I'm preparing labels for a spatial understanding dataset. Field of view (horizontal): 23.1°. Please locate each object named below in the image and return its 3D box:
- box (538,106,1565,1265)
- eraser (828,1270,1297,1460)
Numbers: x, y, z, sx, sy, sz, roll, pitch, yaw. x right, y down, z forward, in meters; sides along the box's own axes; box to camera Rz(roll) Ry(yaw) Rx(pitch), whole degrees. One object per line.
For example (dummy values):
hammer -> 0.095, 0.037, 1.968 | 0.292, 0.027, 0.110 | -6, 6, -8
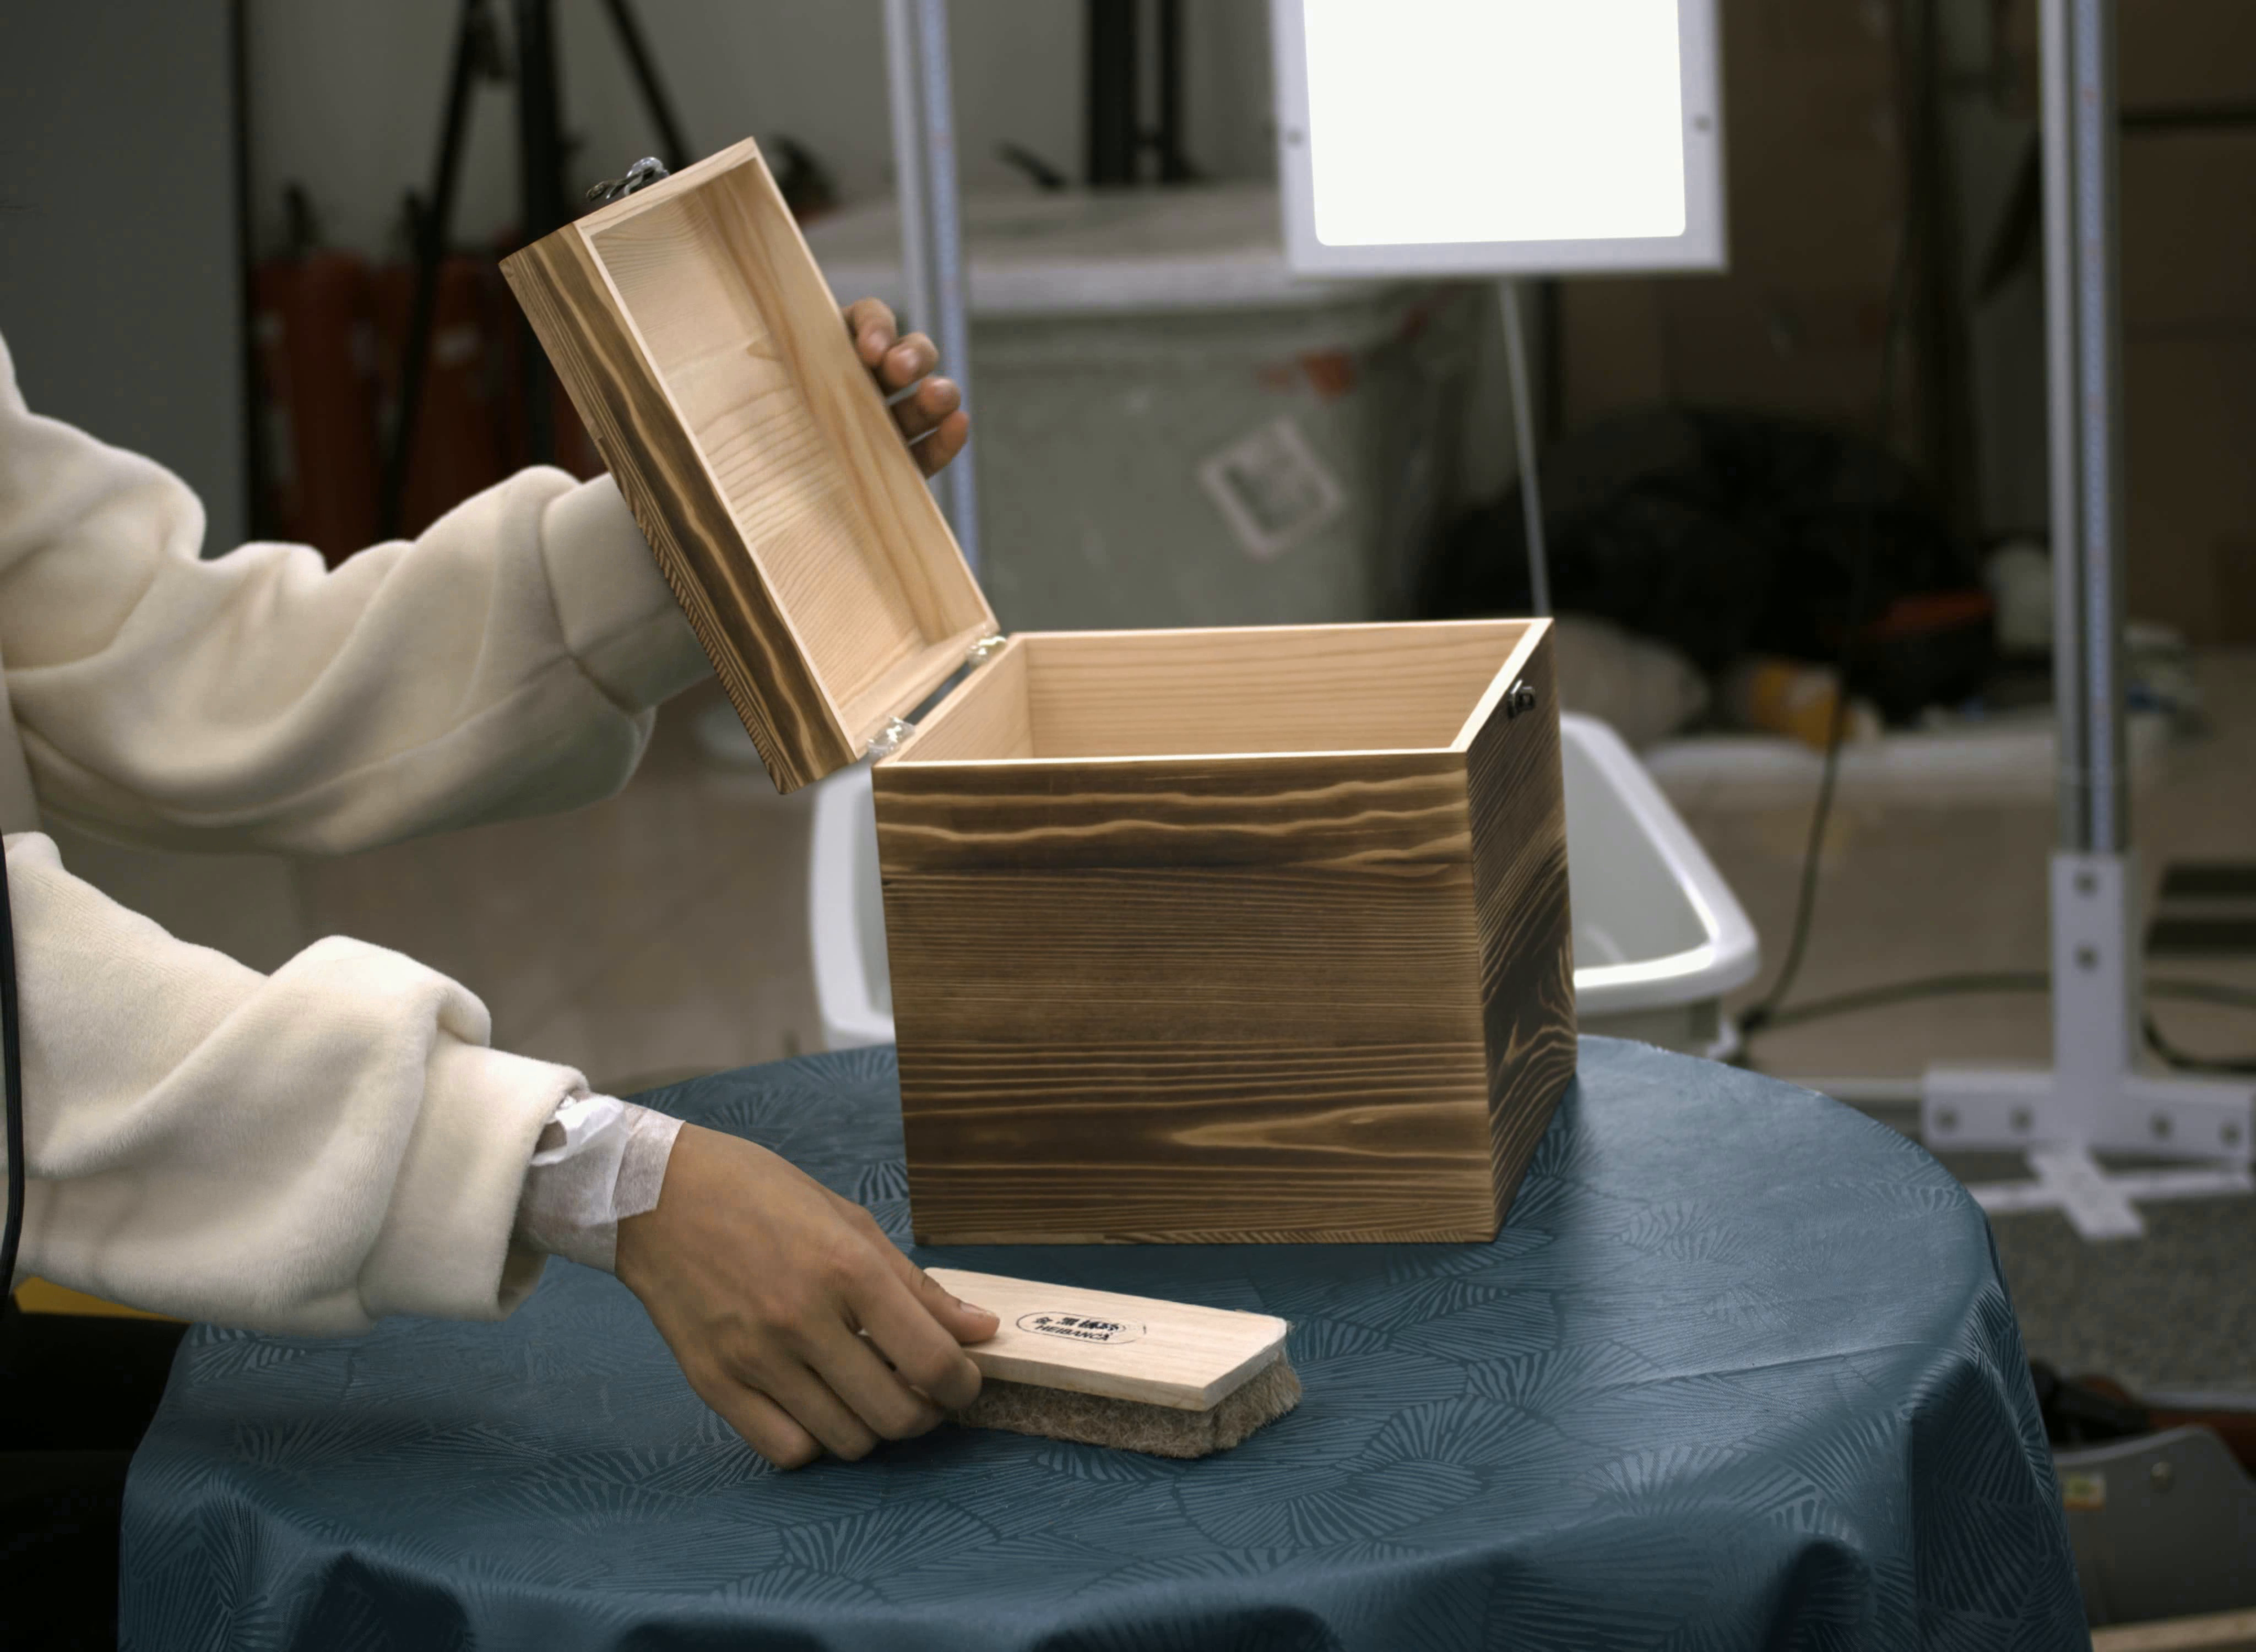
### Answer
box -> -0.018, -0.059, 1.895 | 0.325, 0.377, 0.206 | -1, 15, 14
eraser -> -0.020, 0.166, 1.687 | 0.142, 0.029, 0.056 | 4, 20, 36
